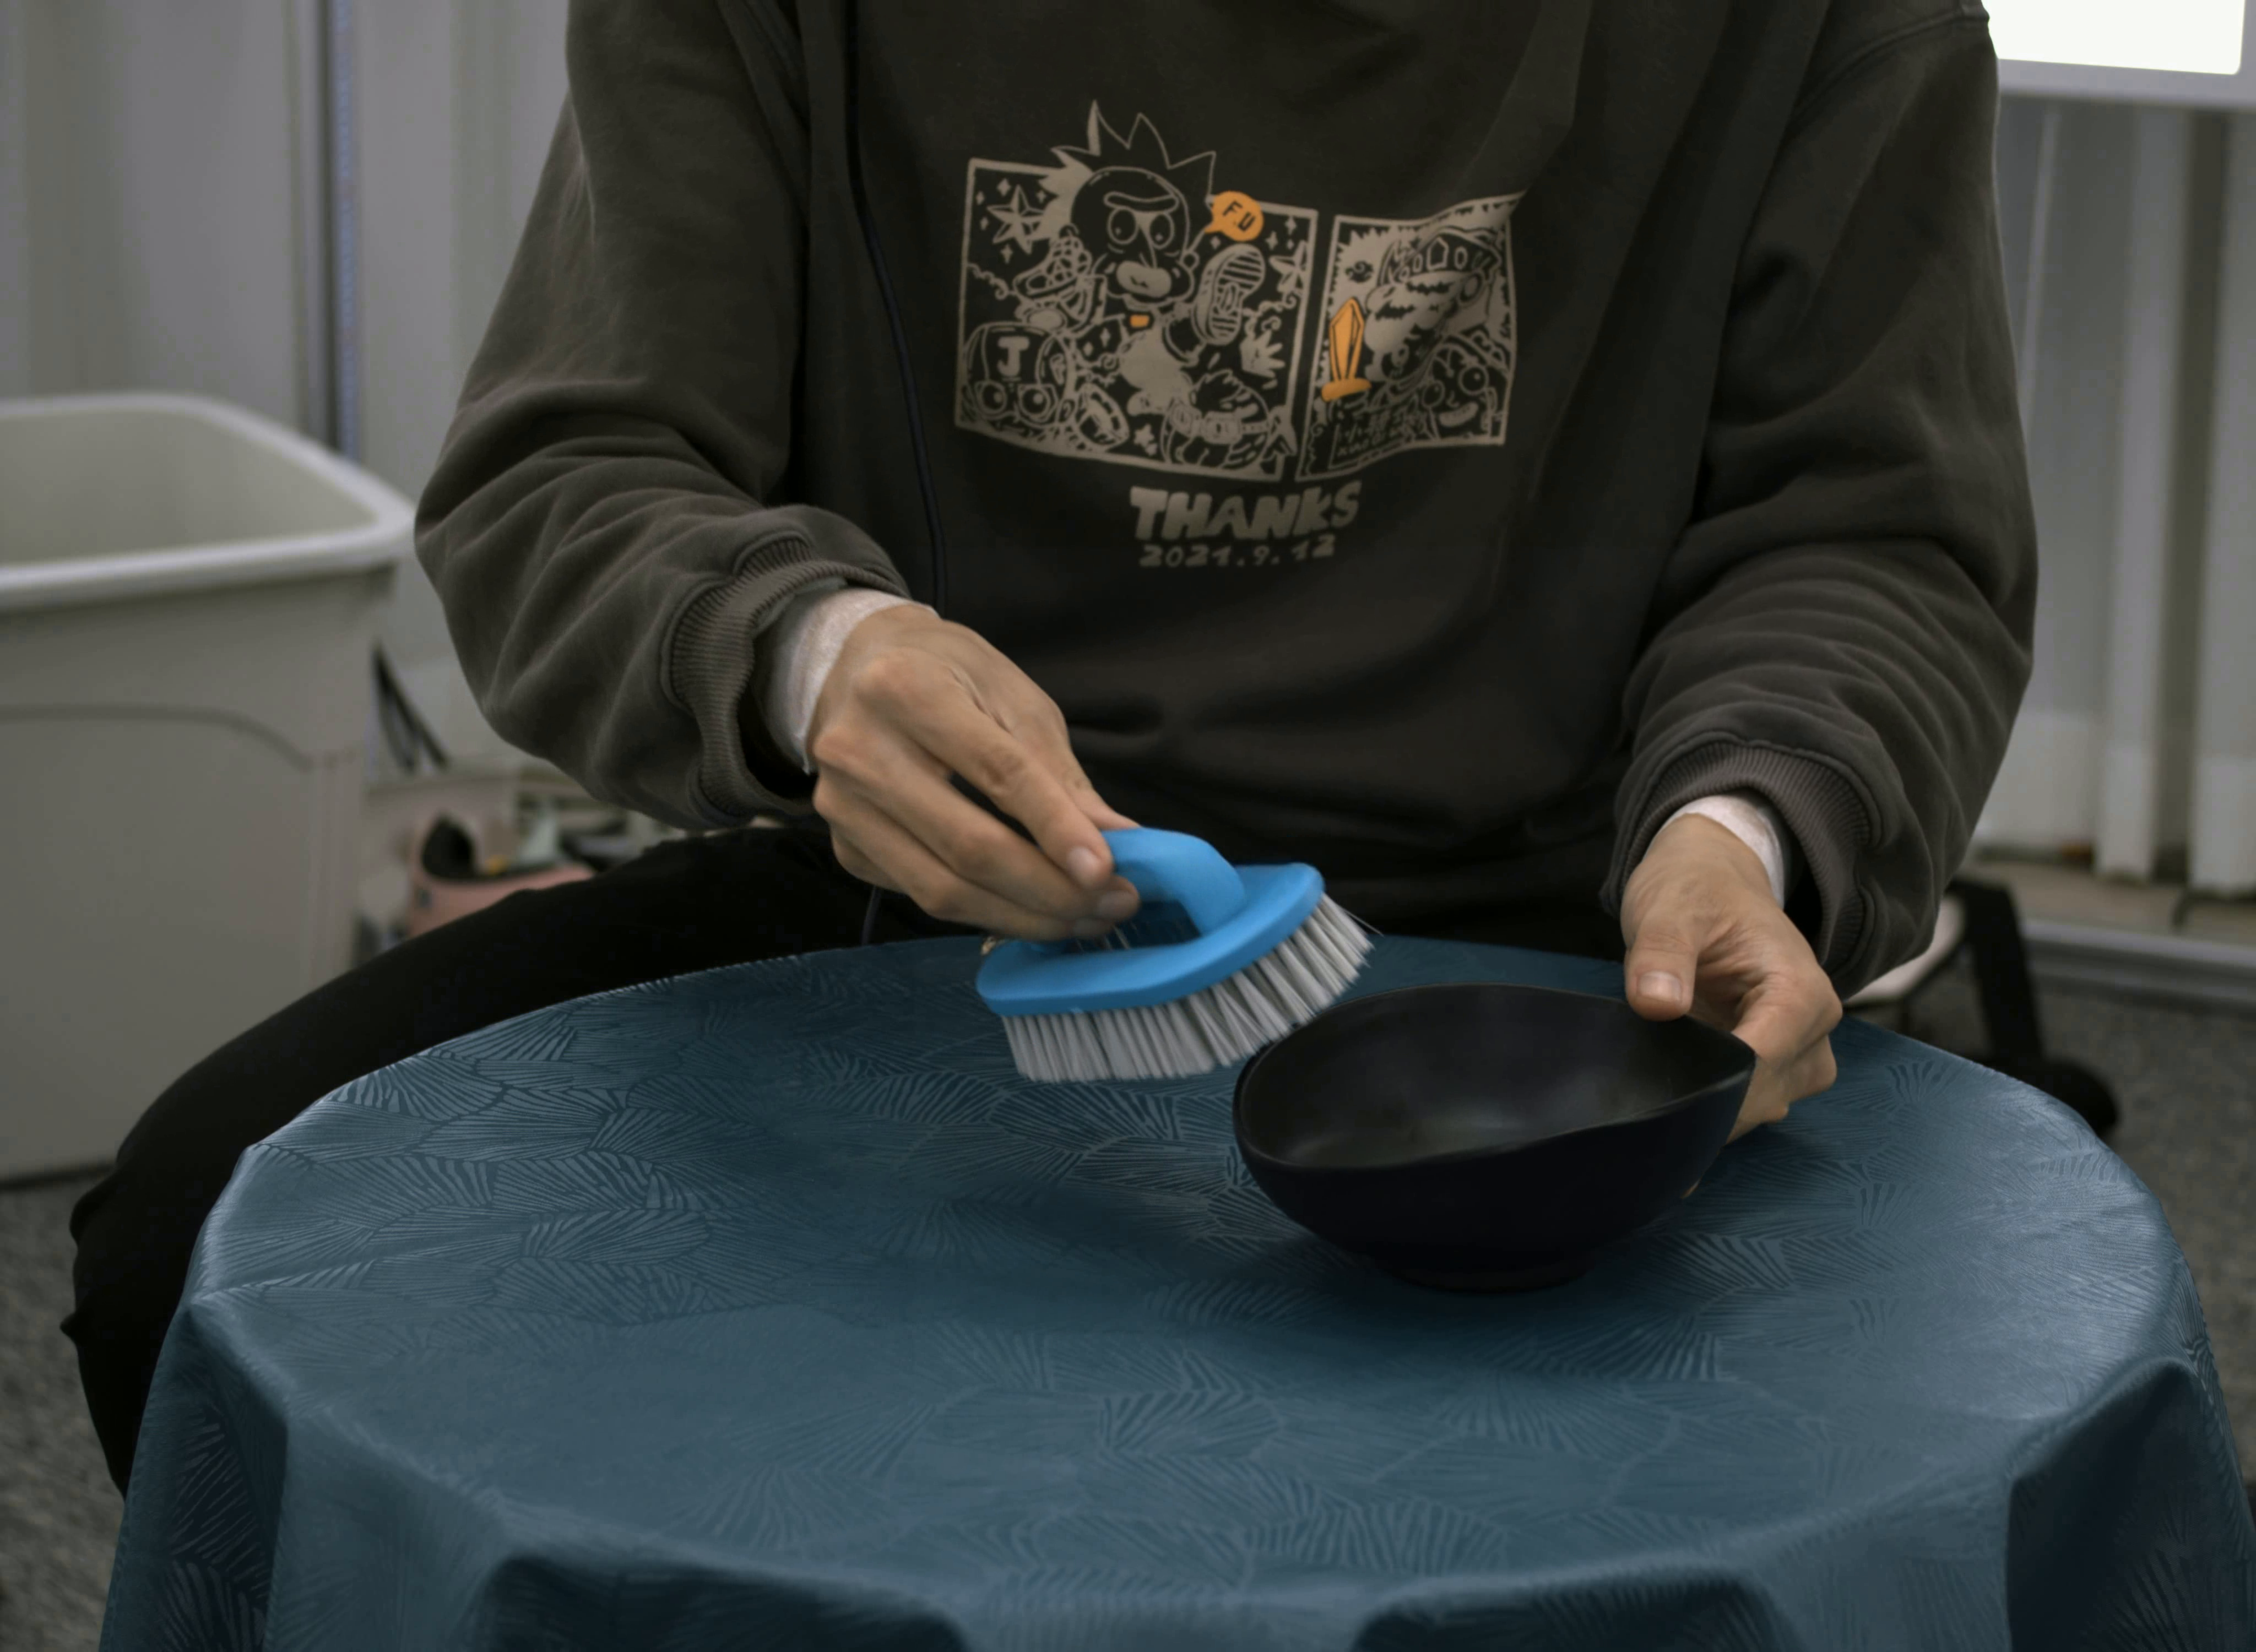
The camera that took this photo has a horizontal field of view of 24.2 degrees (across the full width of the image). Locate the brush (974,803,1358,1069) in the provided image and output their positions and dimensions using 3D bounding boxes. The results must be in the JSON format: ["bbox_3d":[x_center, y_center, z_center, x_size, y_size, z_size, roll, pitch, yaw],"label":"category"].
[{"bbox_3d":[0.002,0.025,1.596,0.084,0.064,0.140,-44,22,-28],"label":"brush"}]

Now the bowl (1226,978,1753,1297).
[{"bbox_3d":[0.108,0.098,1.567,0.171,0.067,0.135,-14,21,-38],"label":"bowl"}]
